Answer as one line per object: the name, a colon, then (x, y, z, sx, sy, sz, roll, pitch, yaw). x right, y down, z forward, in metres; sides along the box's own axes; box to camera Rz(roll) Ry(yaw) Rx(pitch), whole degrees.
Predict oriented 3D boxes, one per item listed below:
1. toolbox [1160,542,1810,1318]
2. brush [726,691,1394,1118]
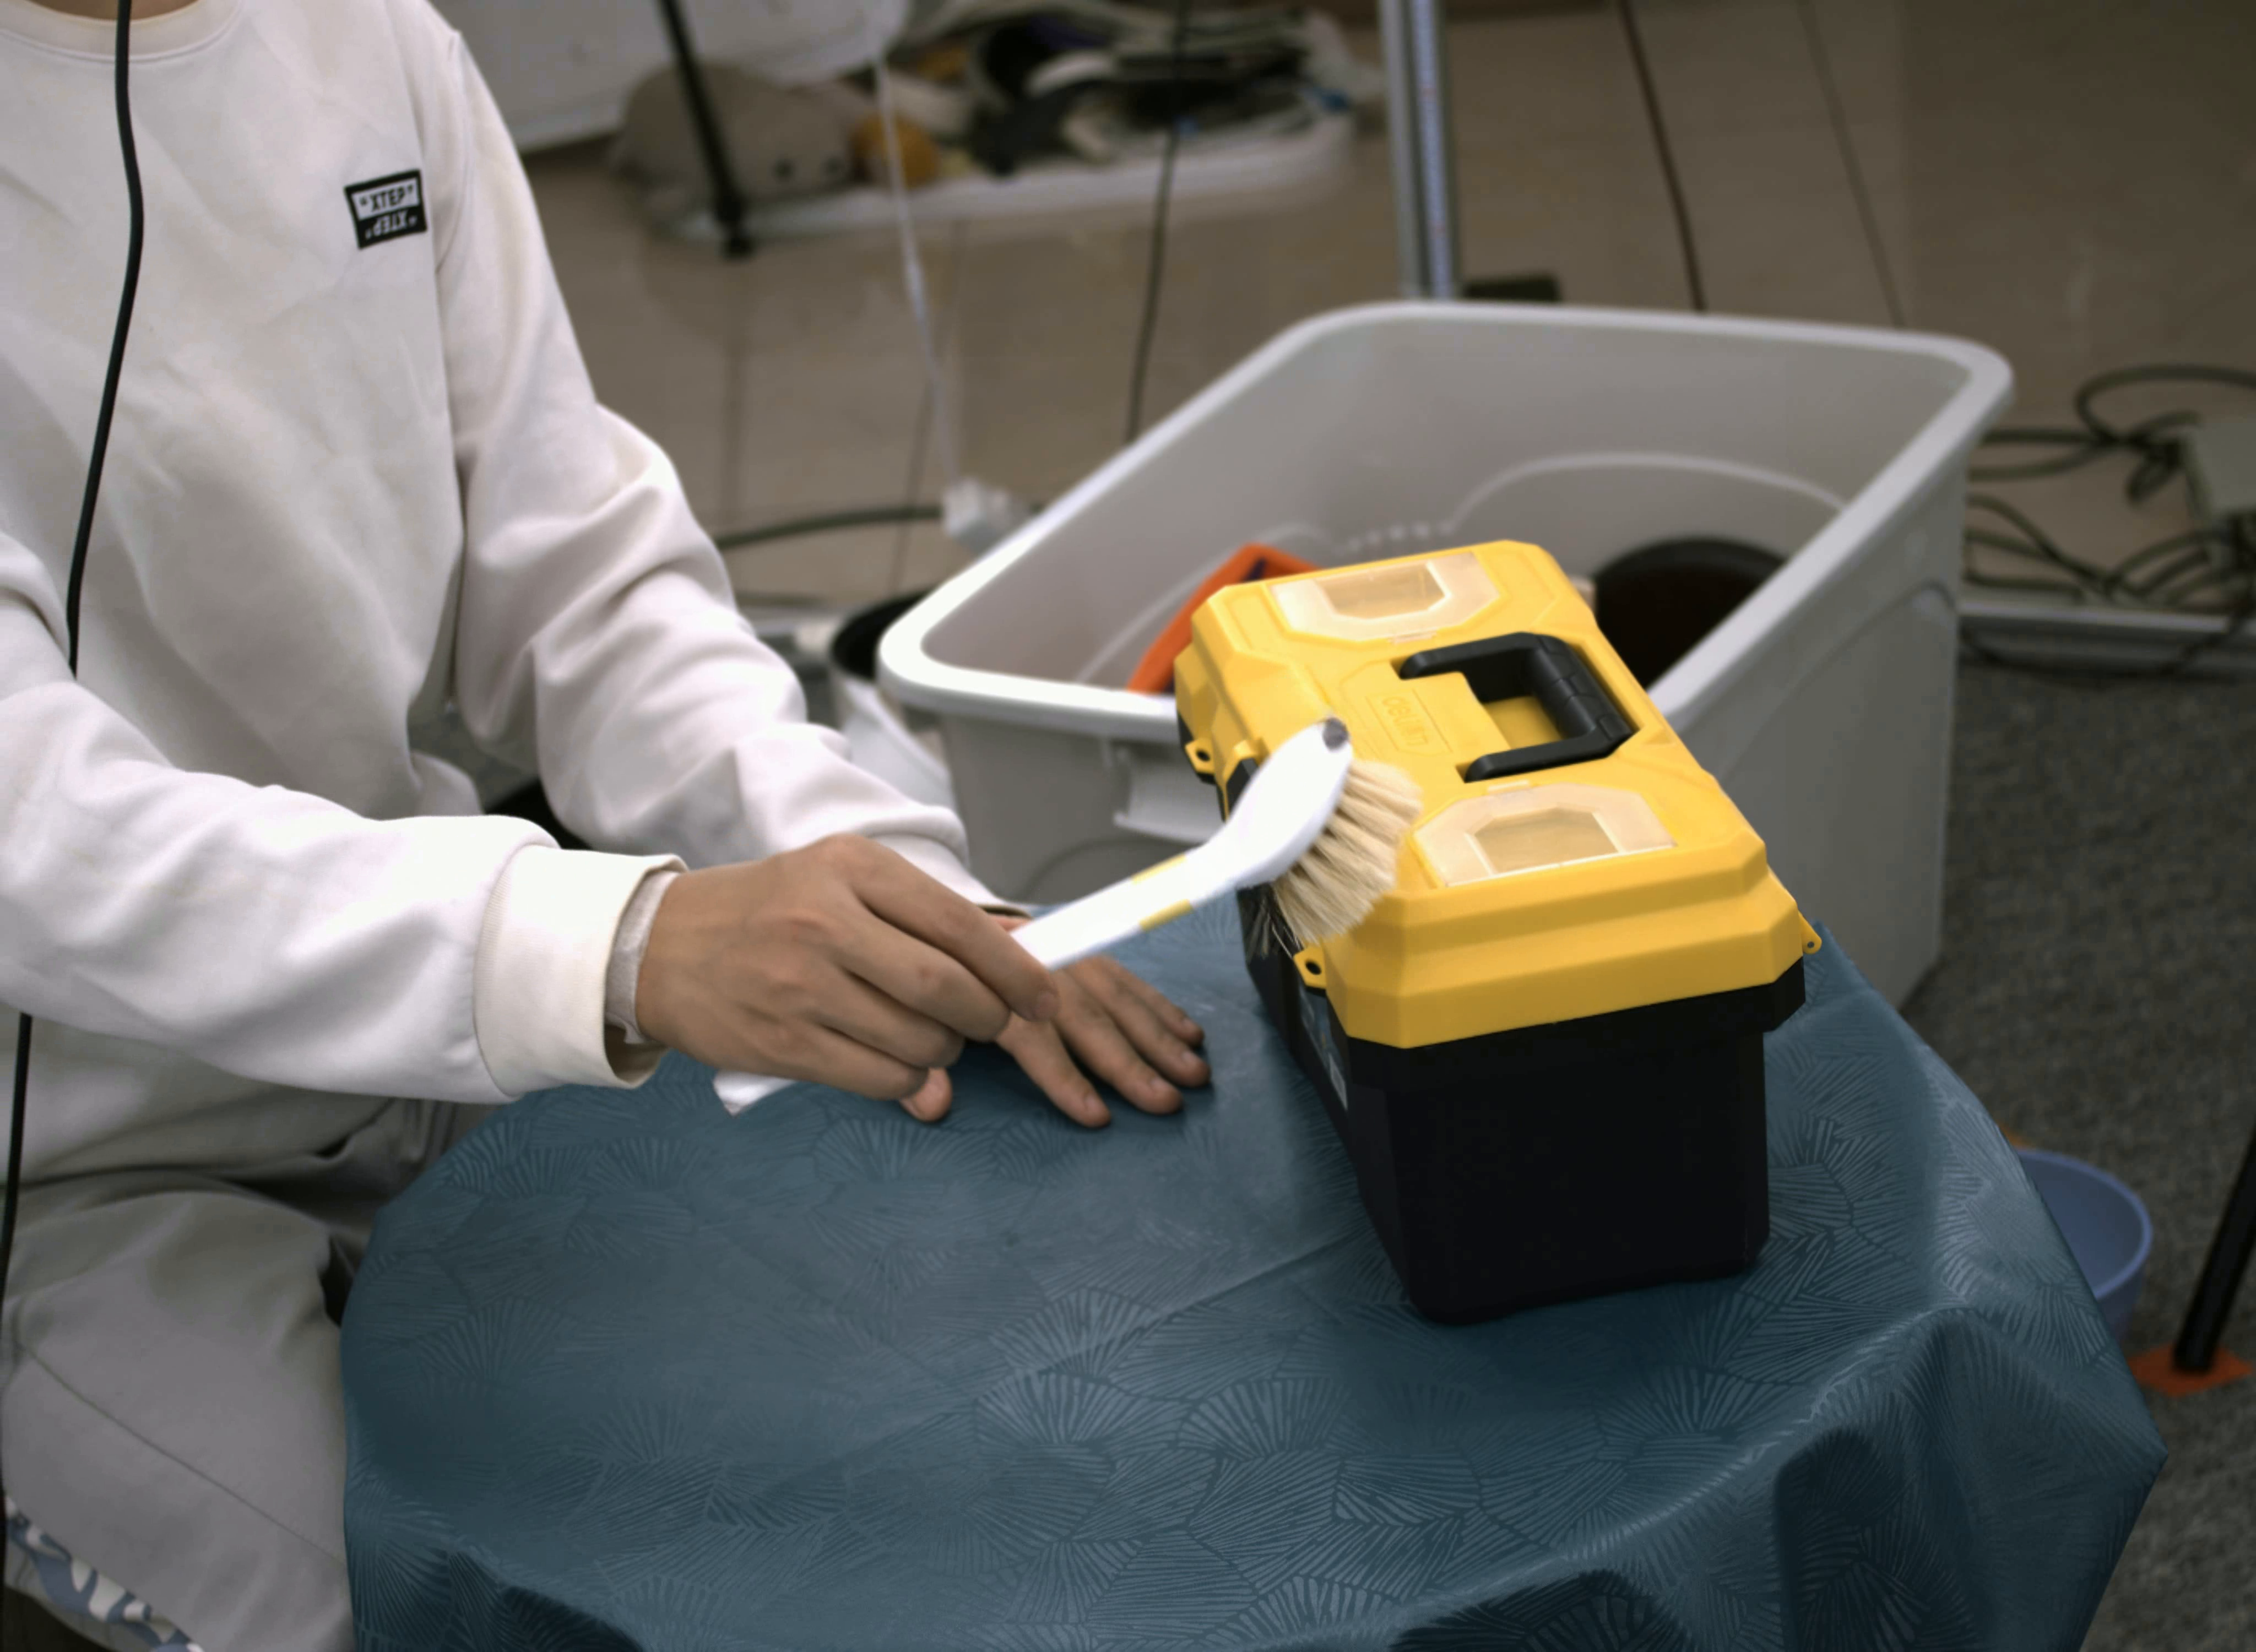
toolbox: (0.130, 0.033, 2.134, 0.181, 0.175, 0.346, -9, 24, -7)
brush: (-0.019, 0.045, 1.950, 0.268, 0.056, 0.067, -34, 13, 17)
